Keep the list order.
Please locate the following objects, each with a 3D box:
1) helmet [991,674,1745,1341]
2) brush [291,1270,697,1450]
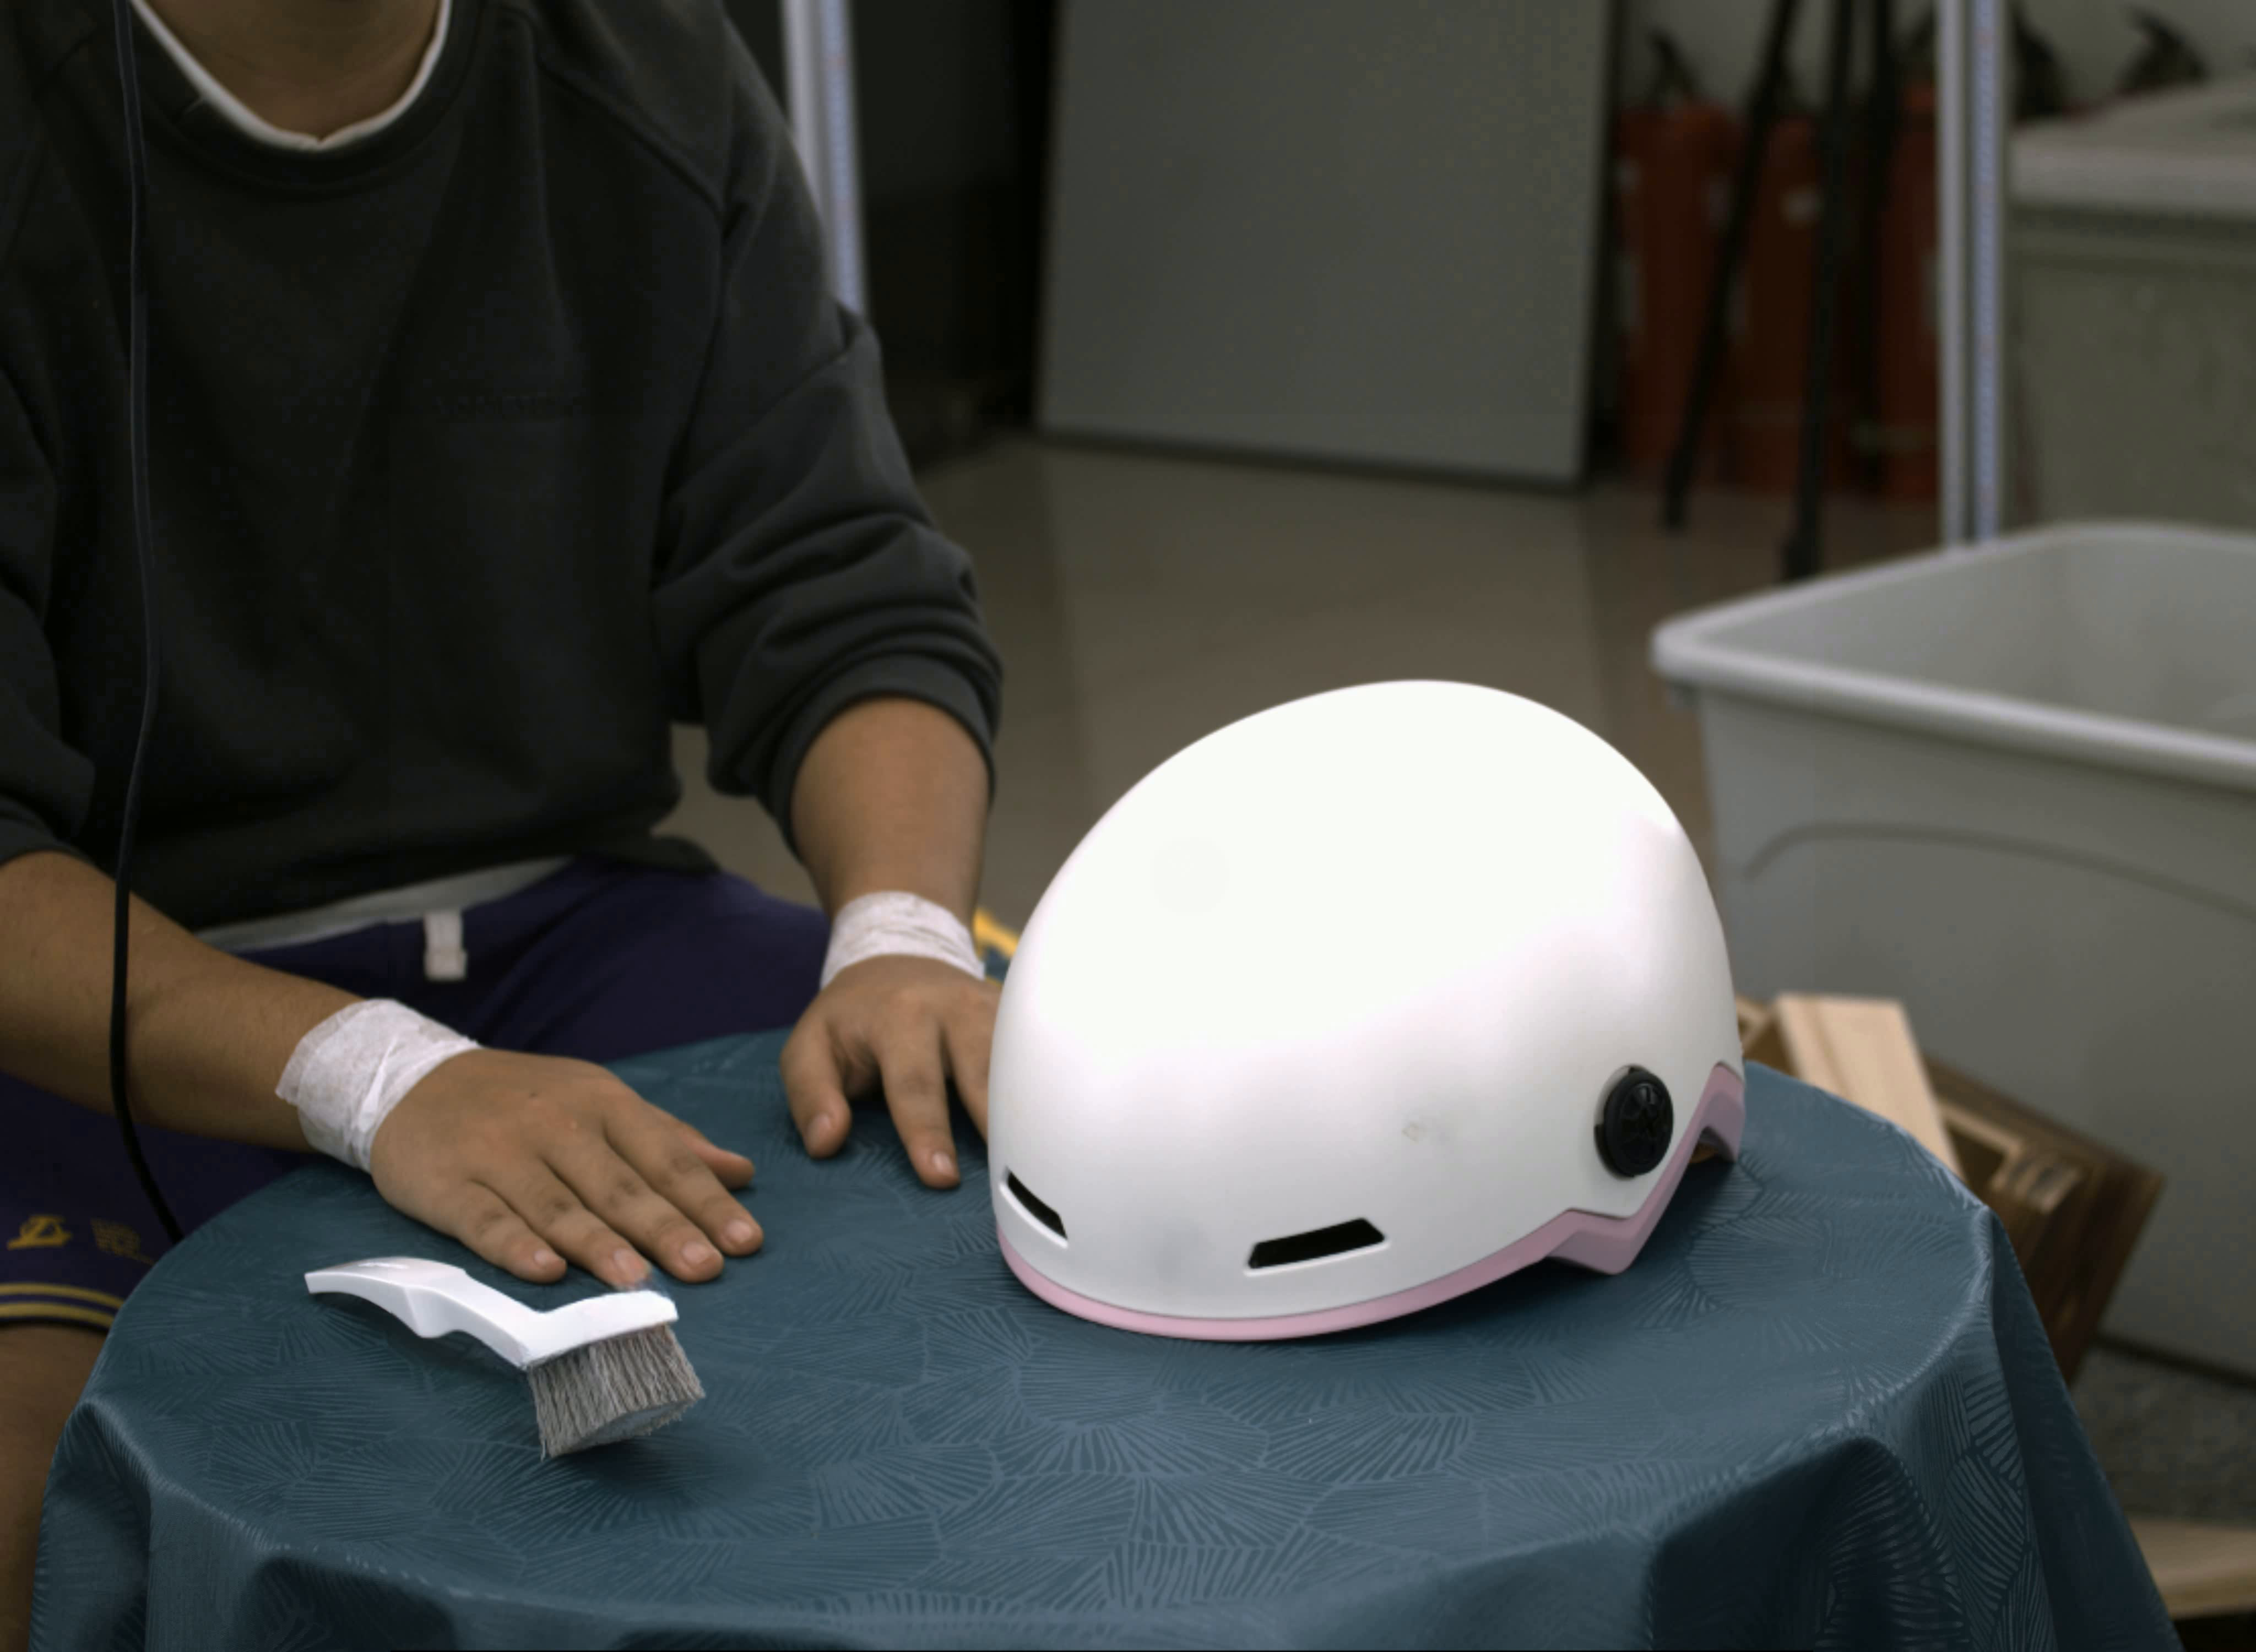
[{"bbox_3d":[0.075,0.045,1.714,0.238,0.169,0.264,6,17,35],"label":"helmet"},{"bbox_3d":[-0.194,0.159,1.622,0.033,0.051,0.246,-11,2,-30],"label":"brush"}]
